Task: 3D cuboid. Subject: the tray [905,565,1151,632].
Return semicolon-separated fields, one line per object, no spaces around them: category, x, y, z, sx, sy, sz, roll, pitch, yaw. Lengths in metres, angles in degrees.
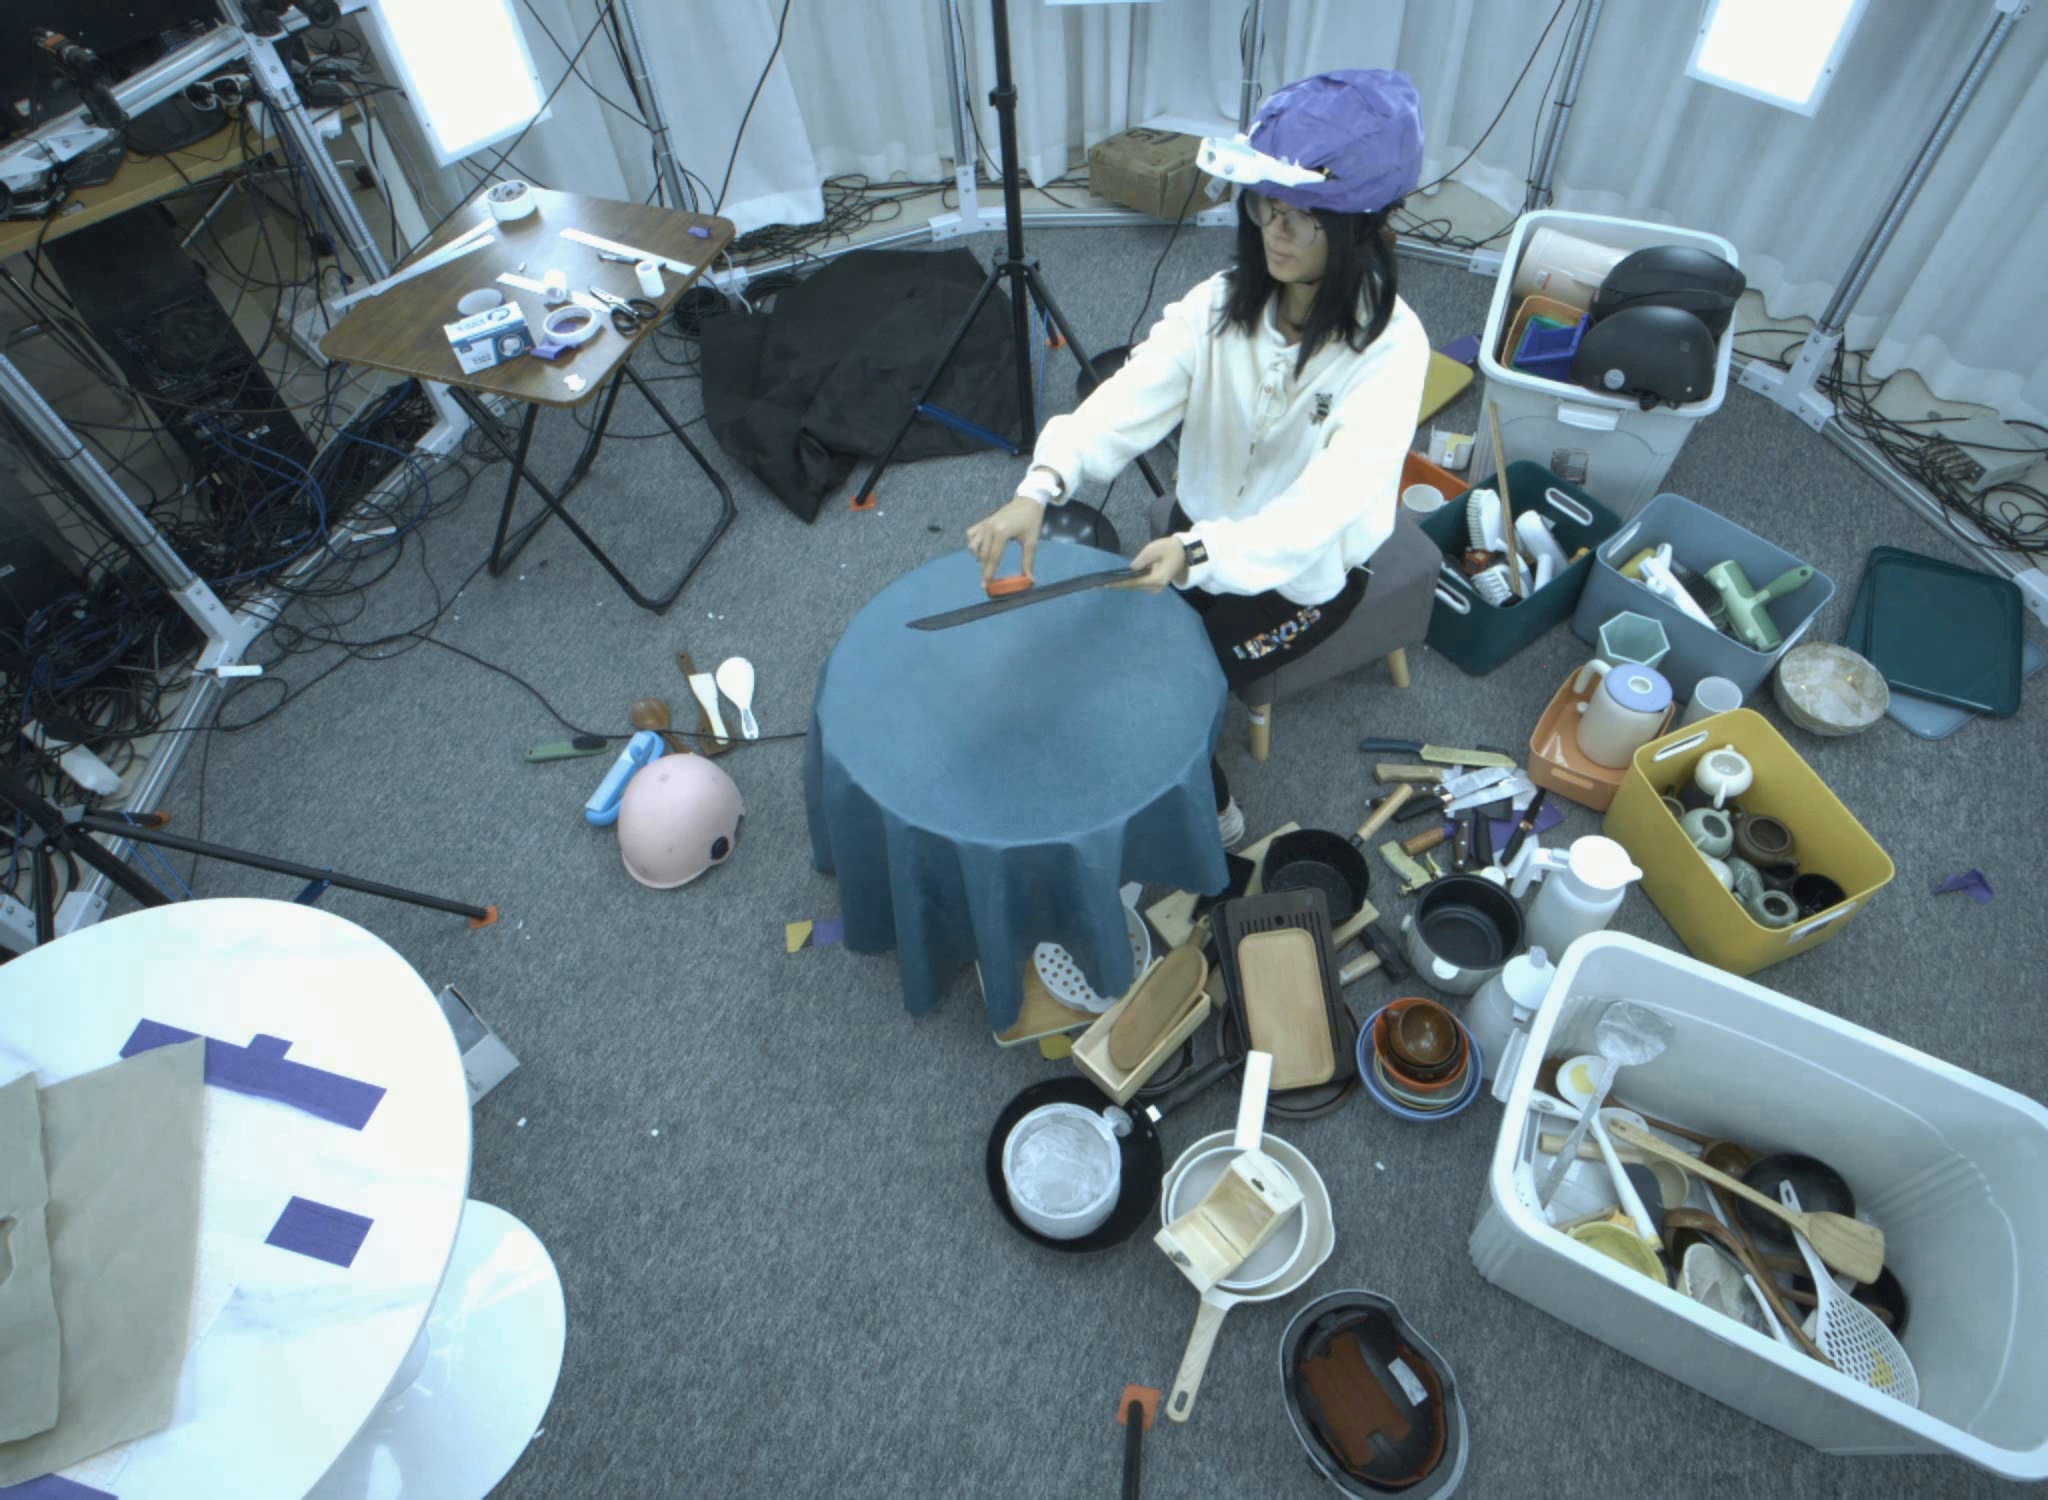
tray;0.008;-0.205;1.630;0.328;0.010;0.208;-17;13;-15

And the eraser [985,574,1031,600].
eraser;-0.024;-0.227;1.704;0.059;0.023;0.107;-7;13;-5
